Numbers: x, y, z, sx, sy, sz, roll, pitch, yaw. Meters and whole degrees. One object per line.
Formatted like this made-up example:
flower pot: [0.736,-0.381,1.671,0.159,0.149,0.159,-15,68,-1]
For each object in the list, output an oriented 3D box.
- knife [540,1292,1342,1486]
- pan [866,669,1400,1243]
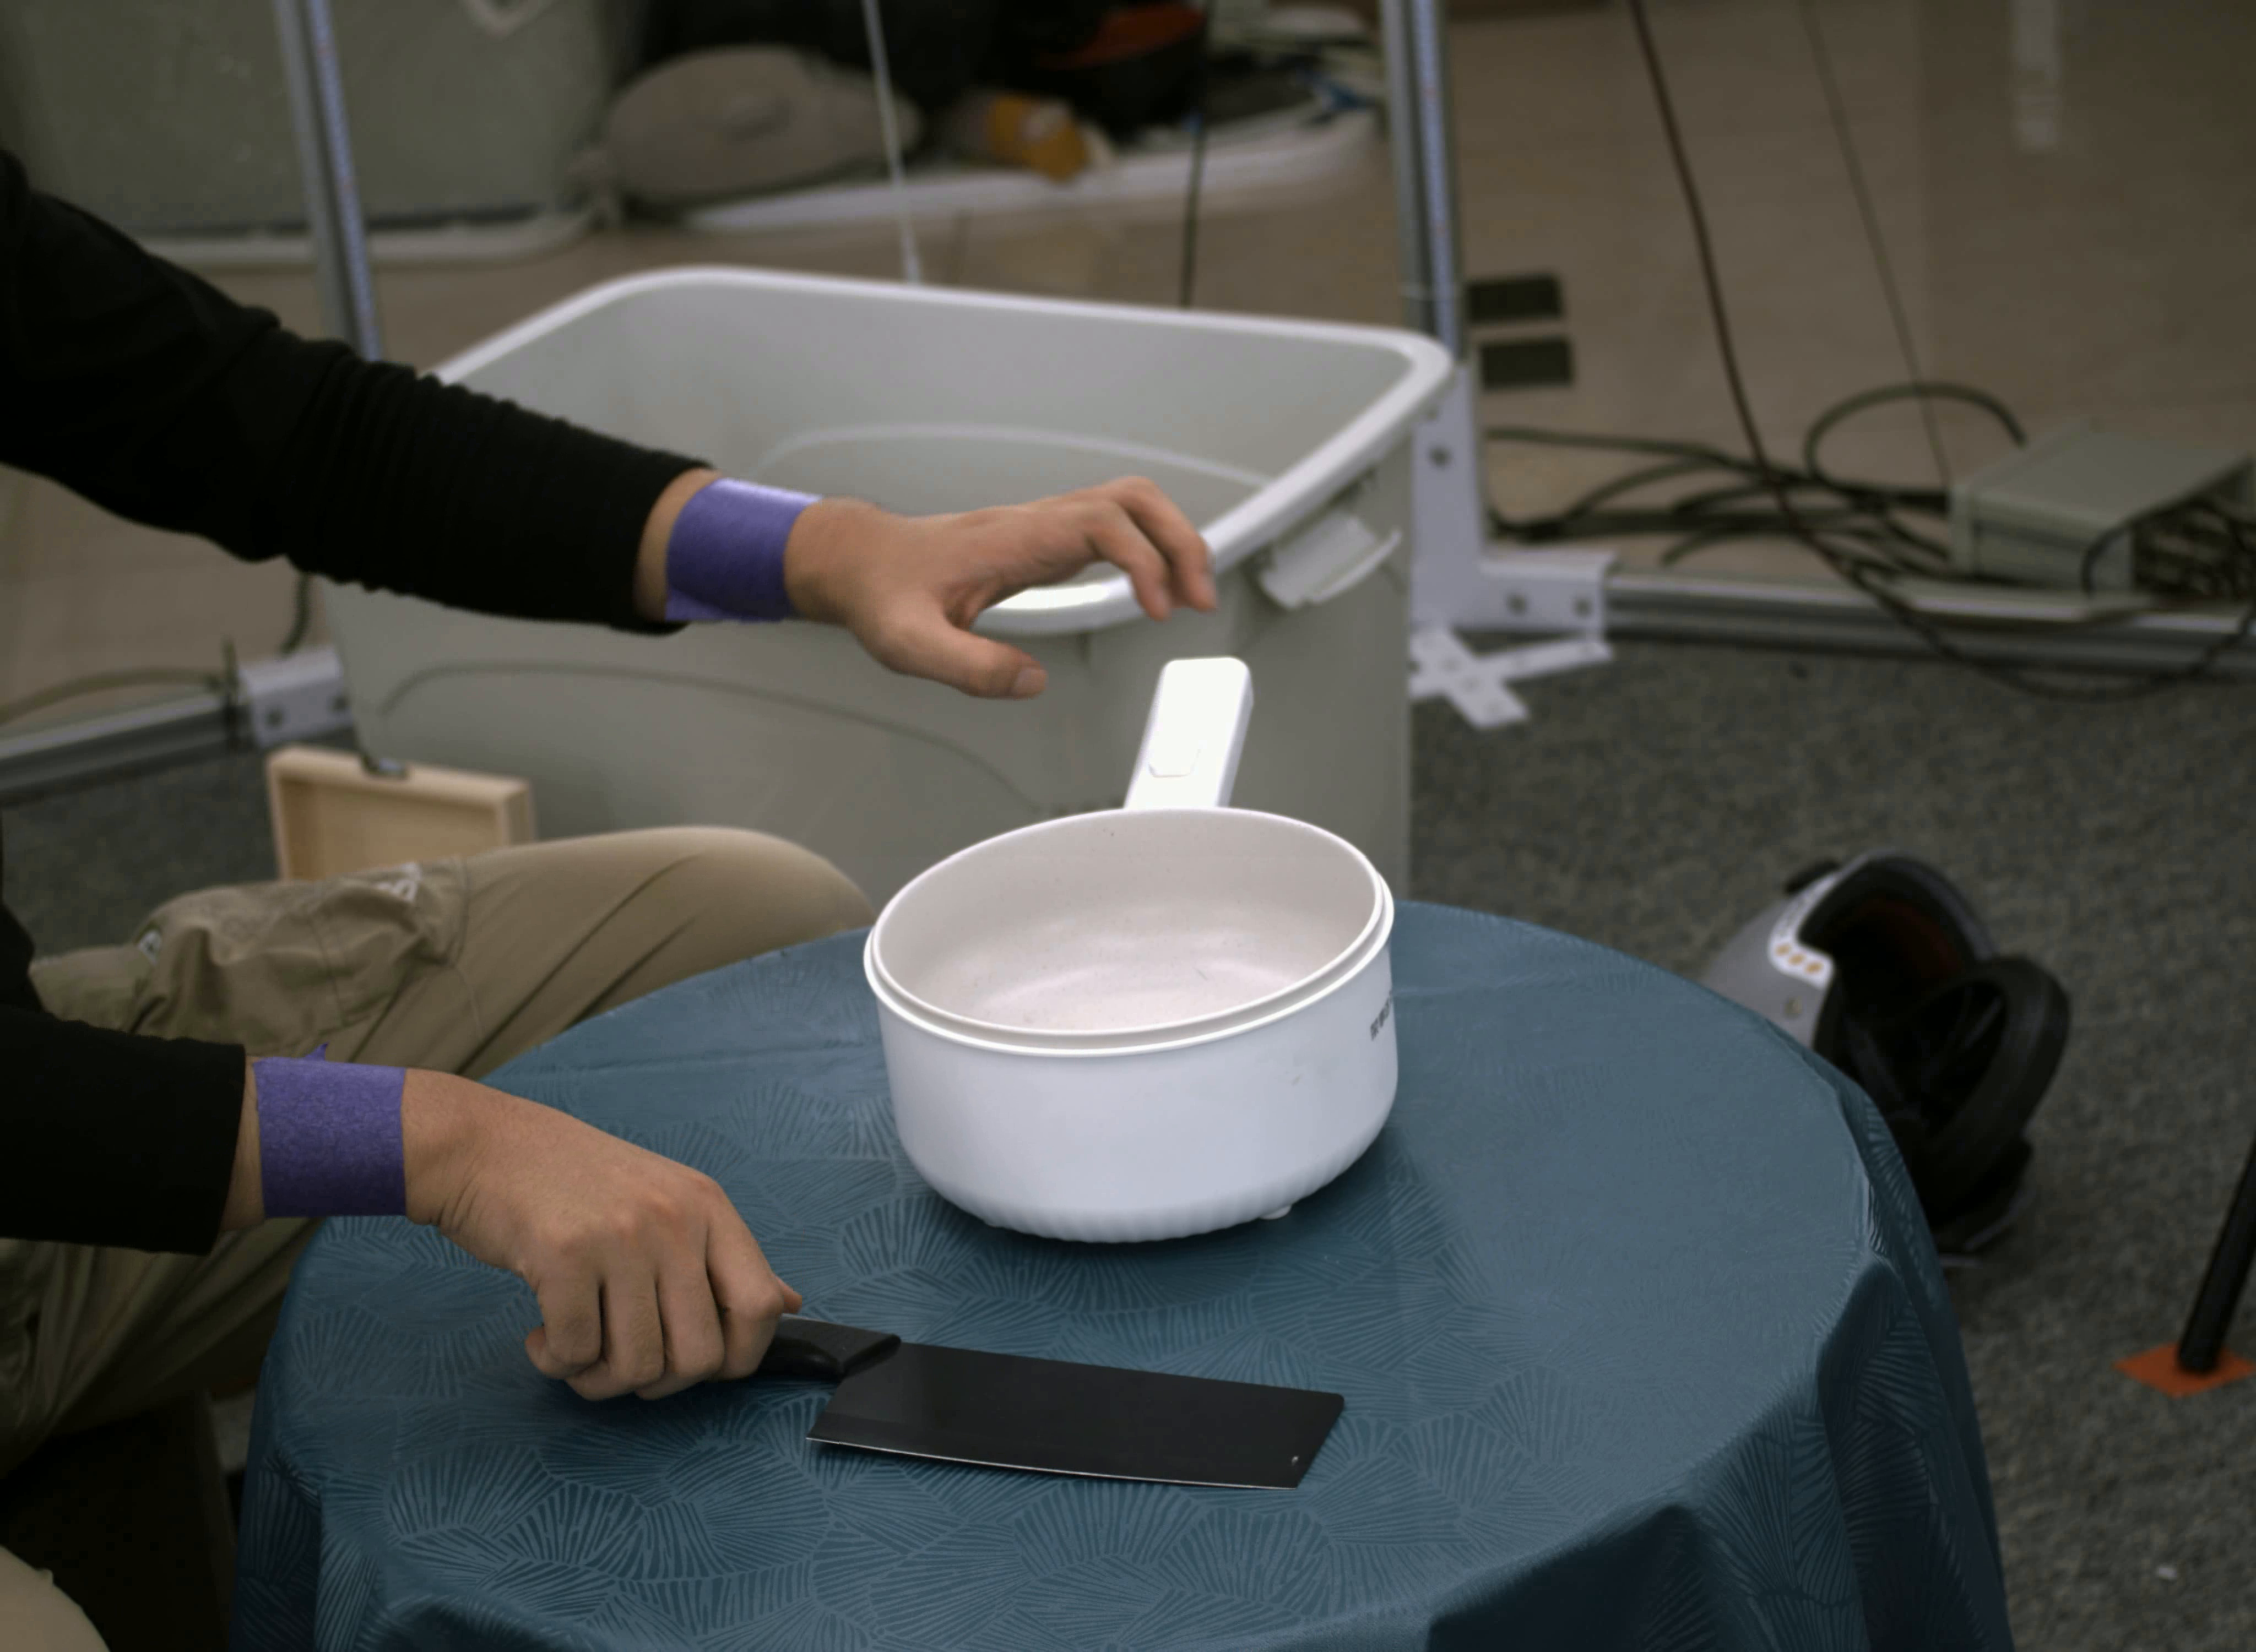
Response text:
knife: [-0.072,0.200,2.021,0.301,0.021,0.080,7,29,23]
pan: [0.016,0.049,2.225,0.201,0.103,0.350,-3,24,10]
